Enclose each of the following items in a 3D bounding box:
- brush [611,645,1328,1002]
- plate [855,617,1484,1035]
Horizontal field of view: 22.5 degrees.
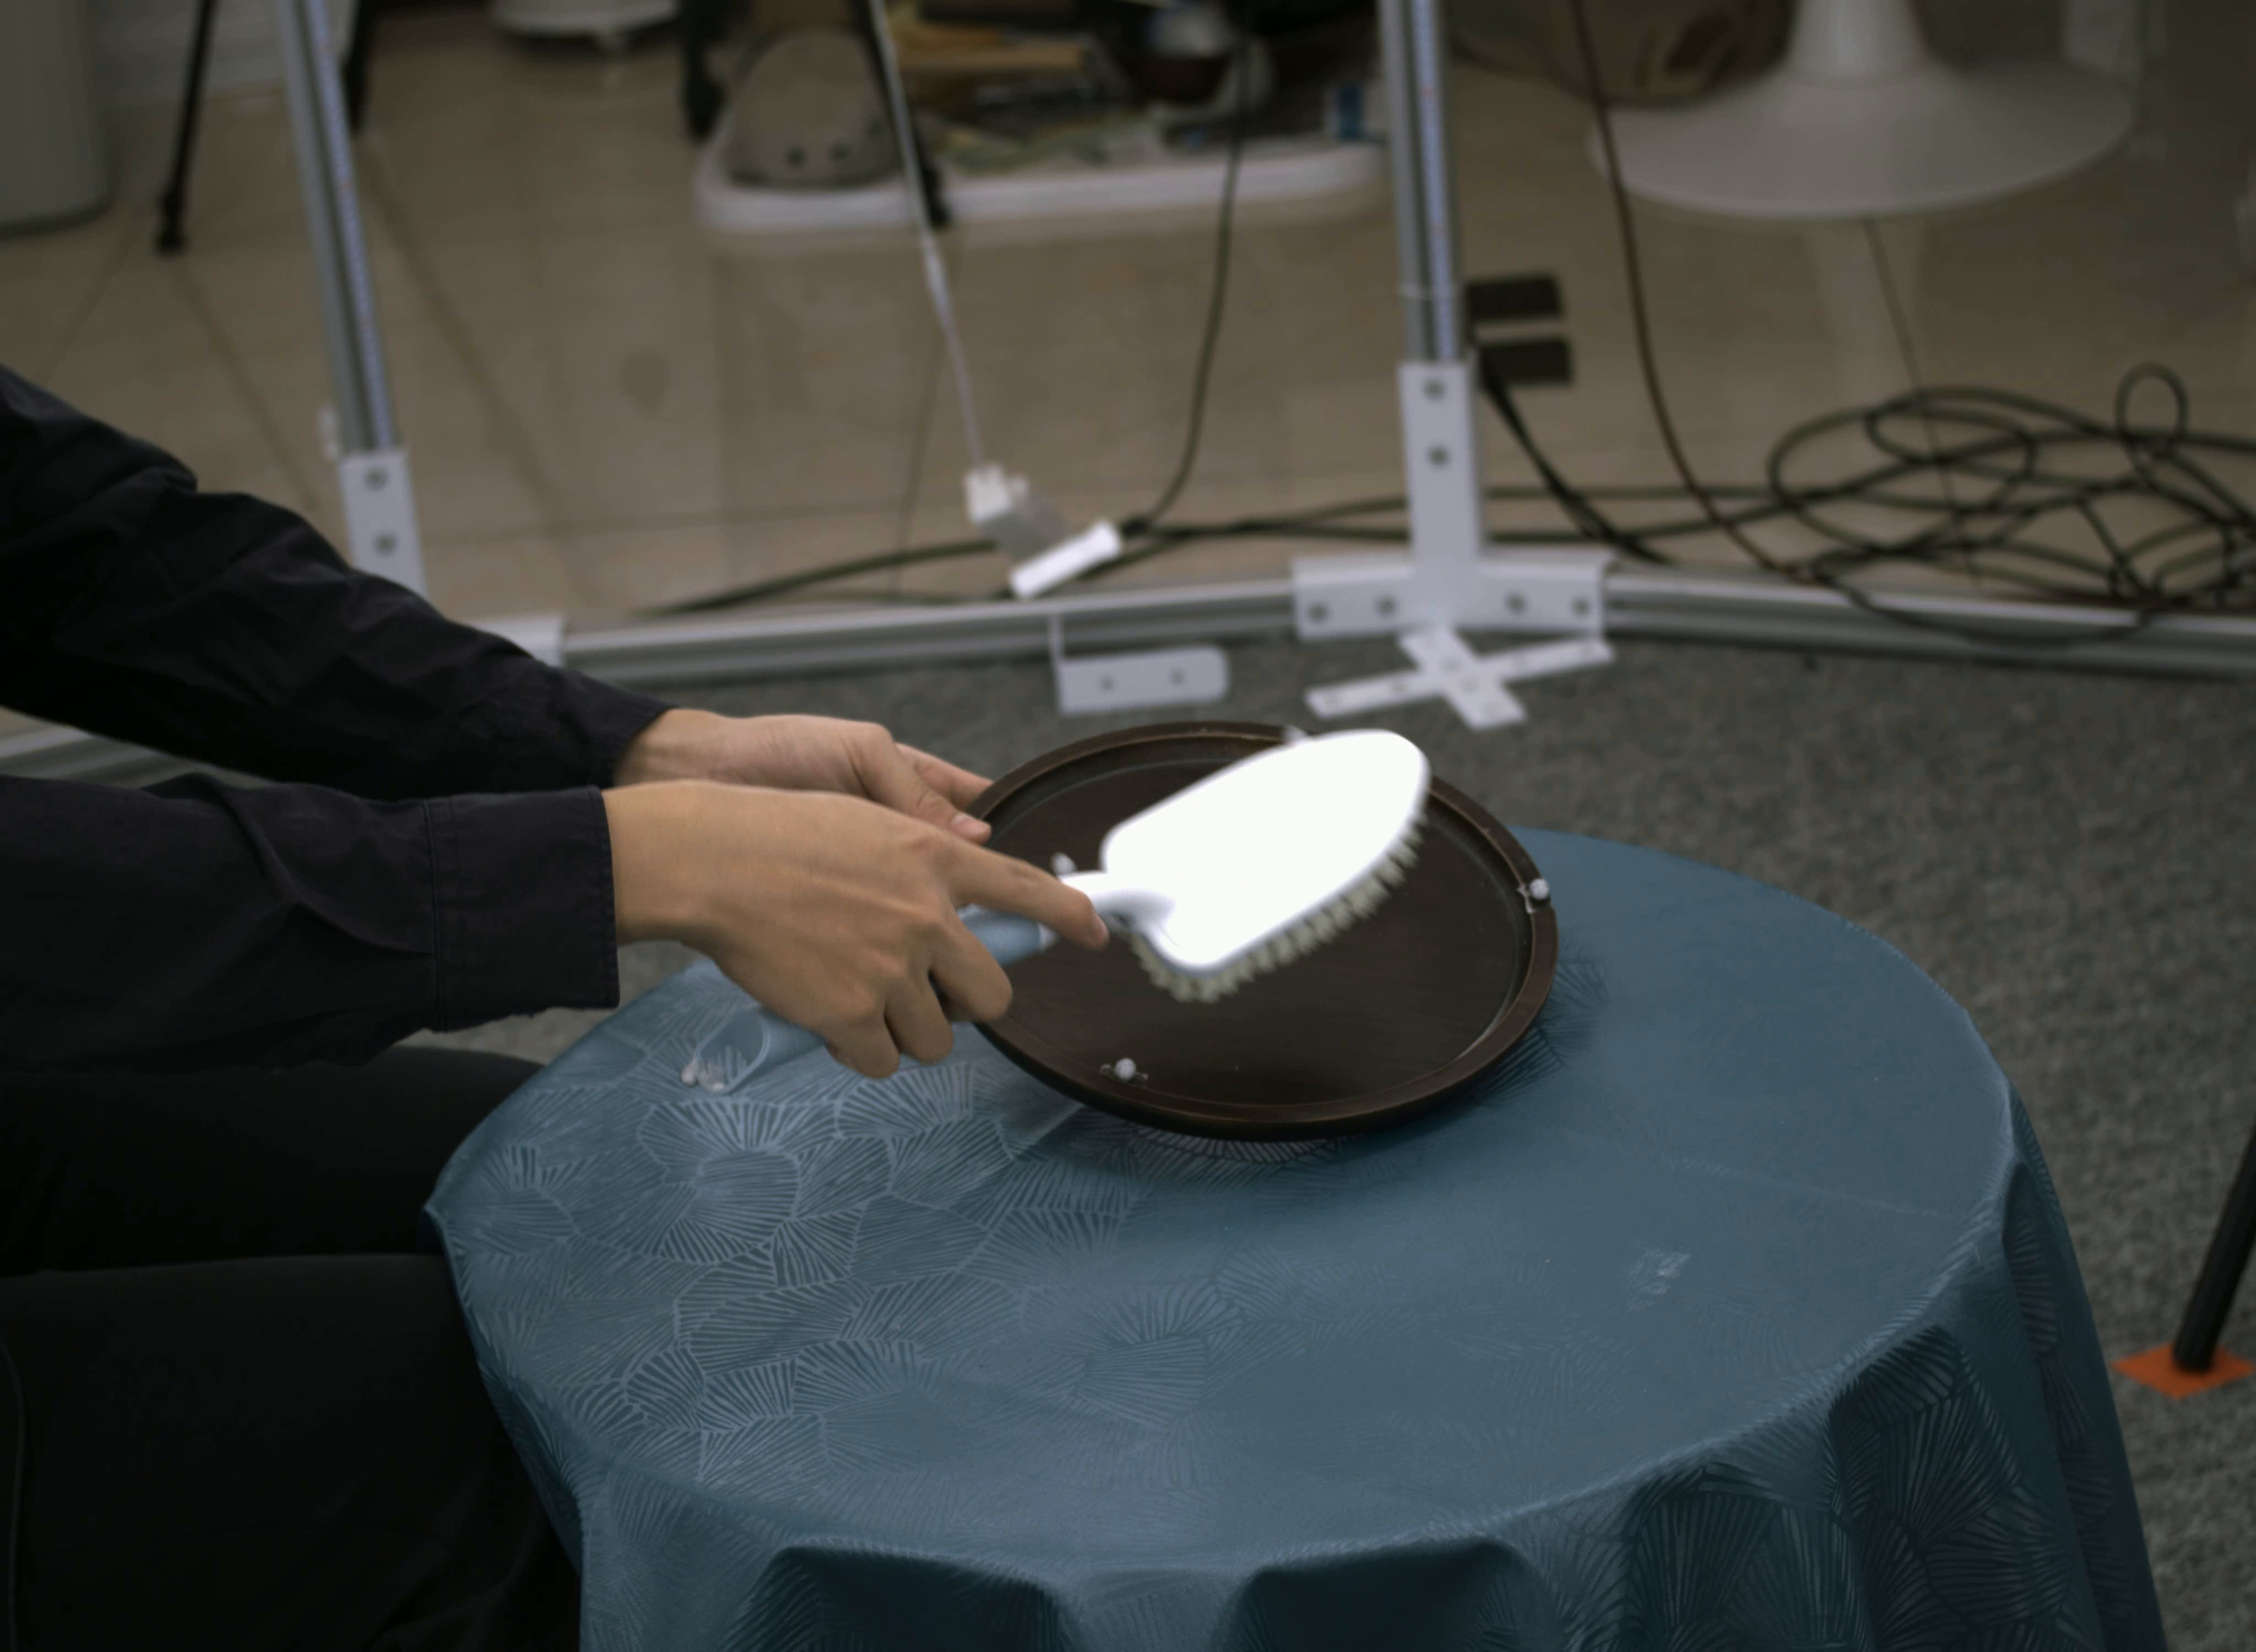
[{"bbox_3d":[-0.063,0.010,2.133,0.323,0.086,0.082,-24,31,-28],"label":"brush"},{"bbox_3d":[0.016,-0.002,2.276,0.254,0.029,0.250,3,41,-3],"label":"plate"}]
